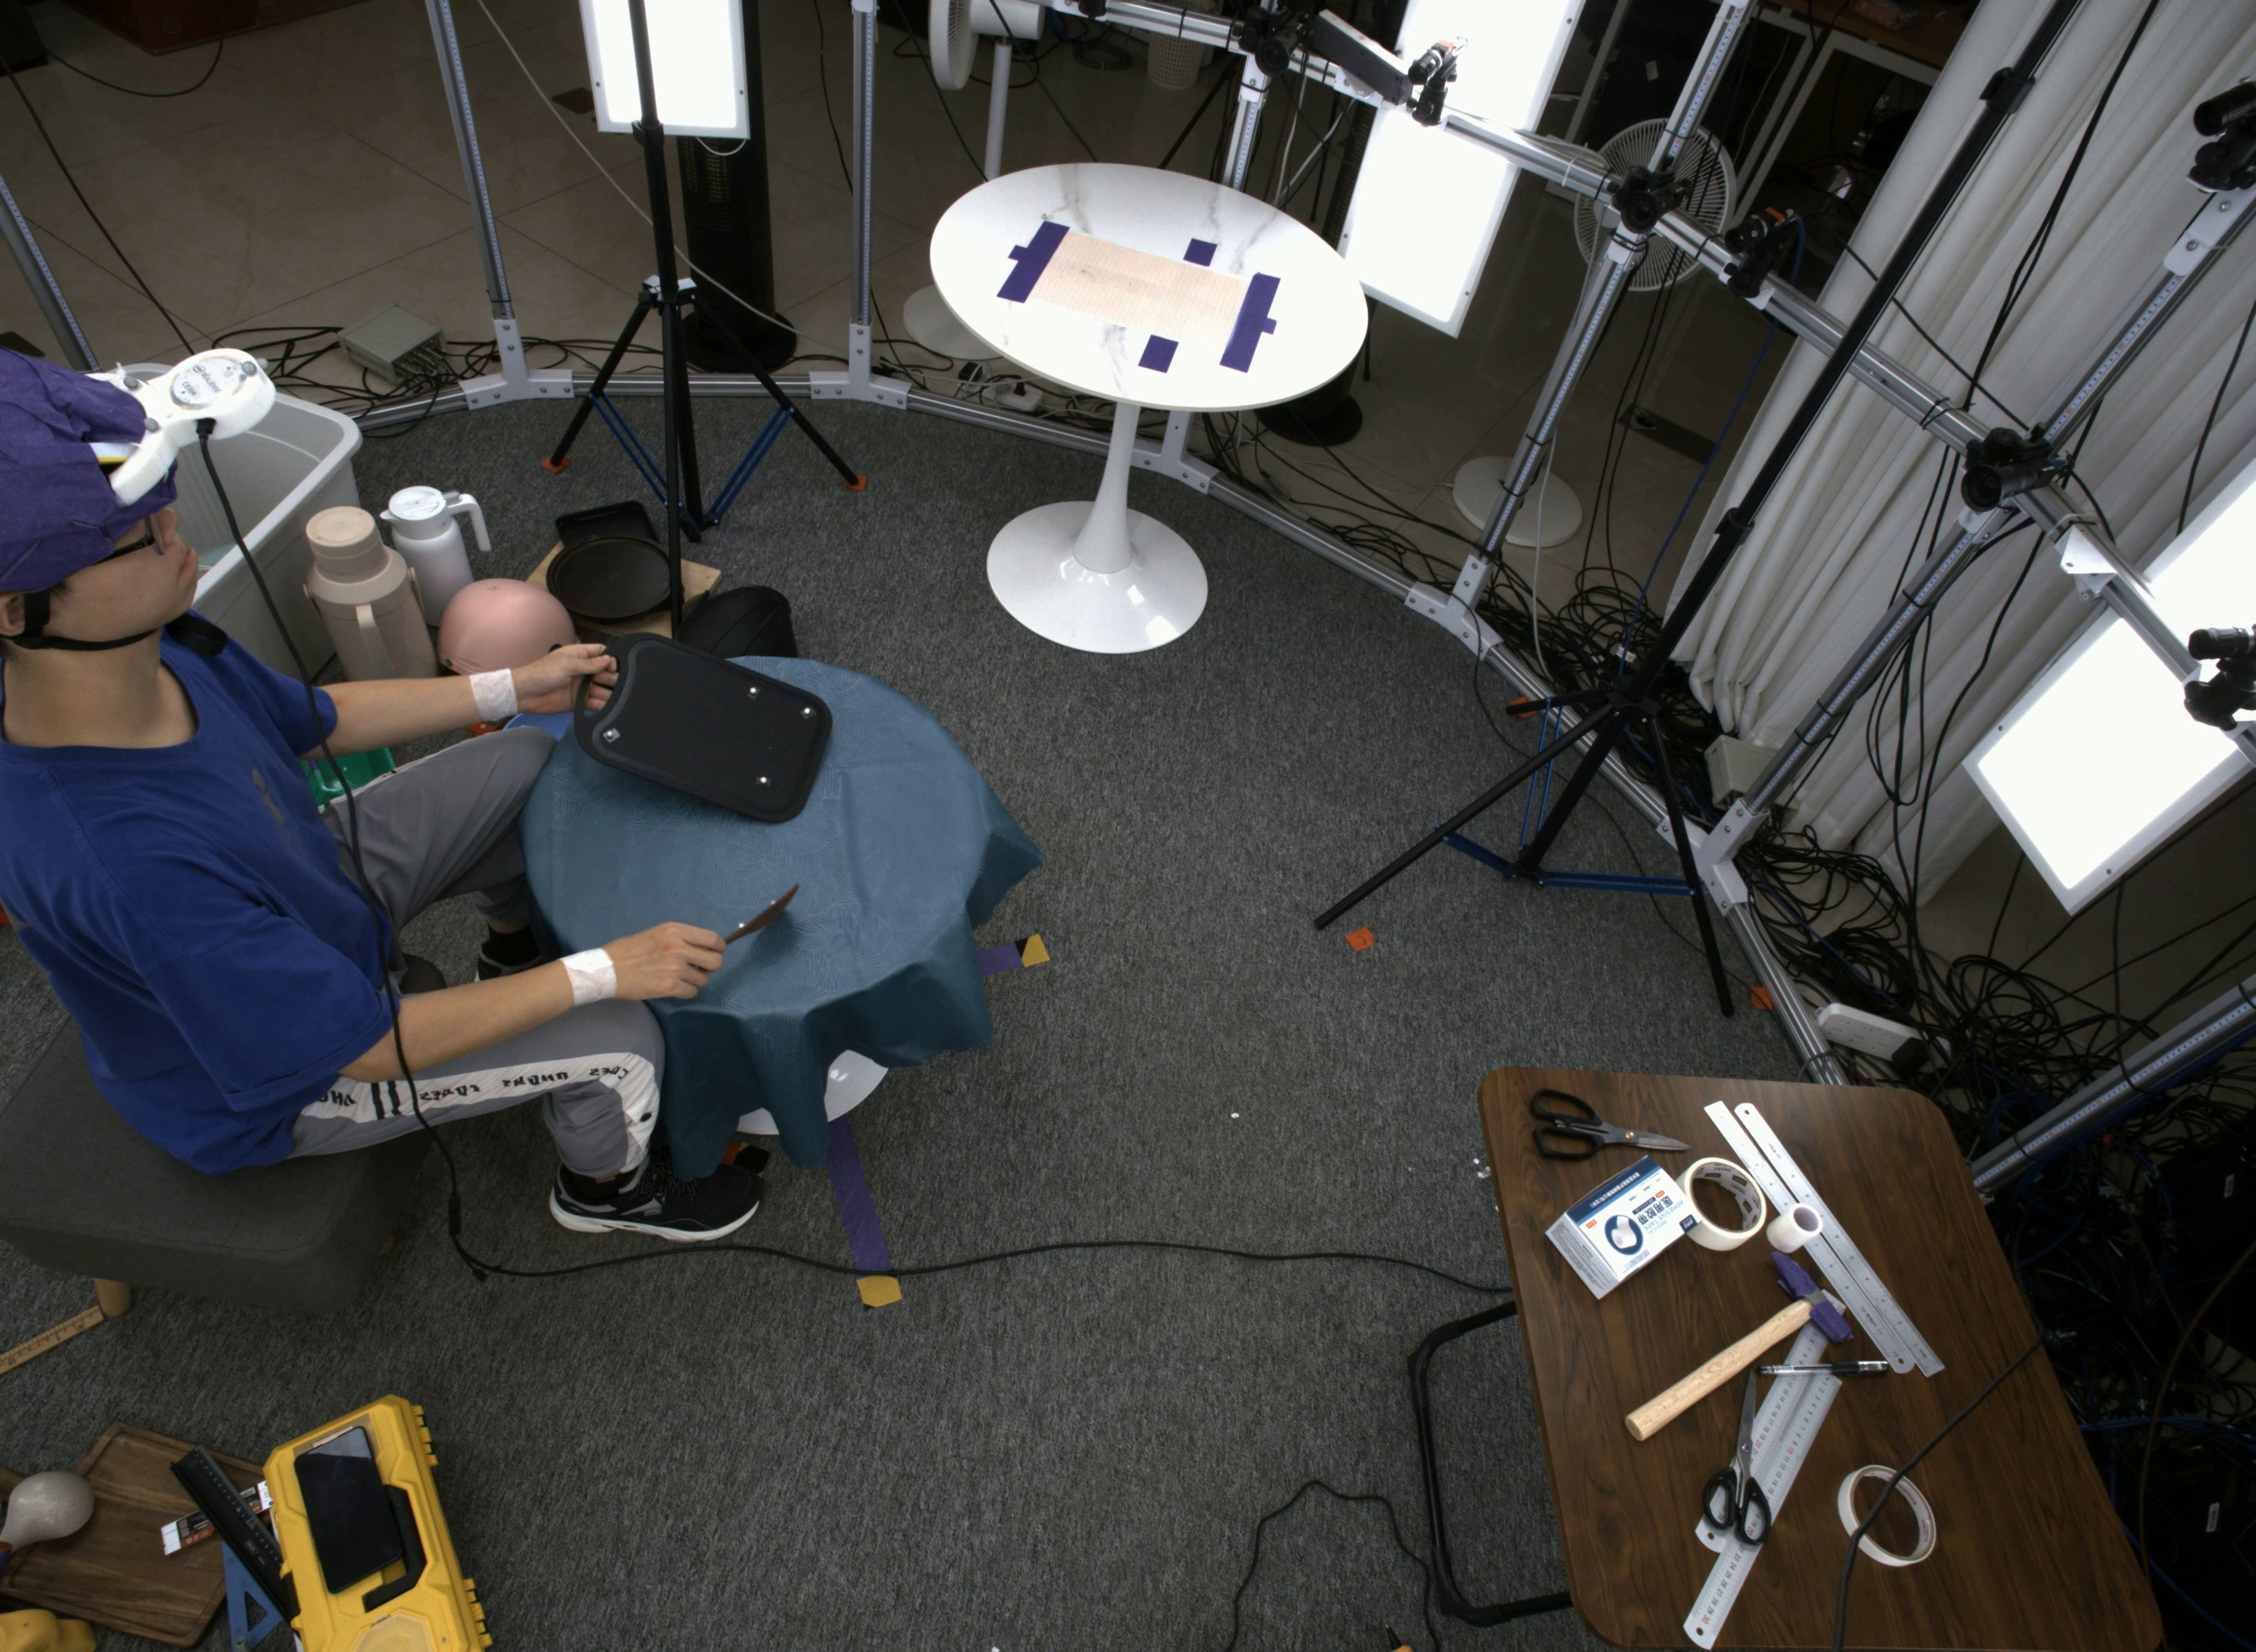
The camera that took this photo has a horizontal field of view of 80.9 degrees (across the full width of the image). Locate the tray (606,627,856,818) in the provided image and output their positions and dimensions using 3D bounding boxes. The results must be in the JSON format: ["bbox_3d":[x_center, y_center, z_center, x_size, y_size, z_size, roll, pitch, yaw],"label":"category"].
[{"bbox_3d":[-0.541,-0.145,1.740,0.329,0.010,0.209,23,60,-16],"label":"tray"}]

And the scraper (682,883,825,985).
[{"bbox_3d":[-0.452,0.131,1.569,0.011,0.075,0.212,52,49,4],"label":"scraper"}]
